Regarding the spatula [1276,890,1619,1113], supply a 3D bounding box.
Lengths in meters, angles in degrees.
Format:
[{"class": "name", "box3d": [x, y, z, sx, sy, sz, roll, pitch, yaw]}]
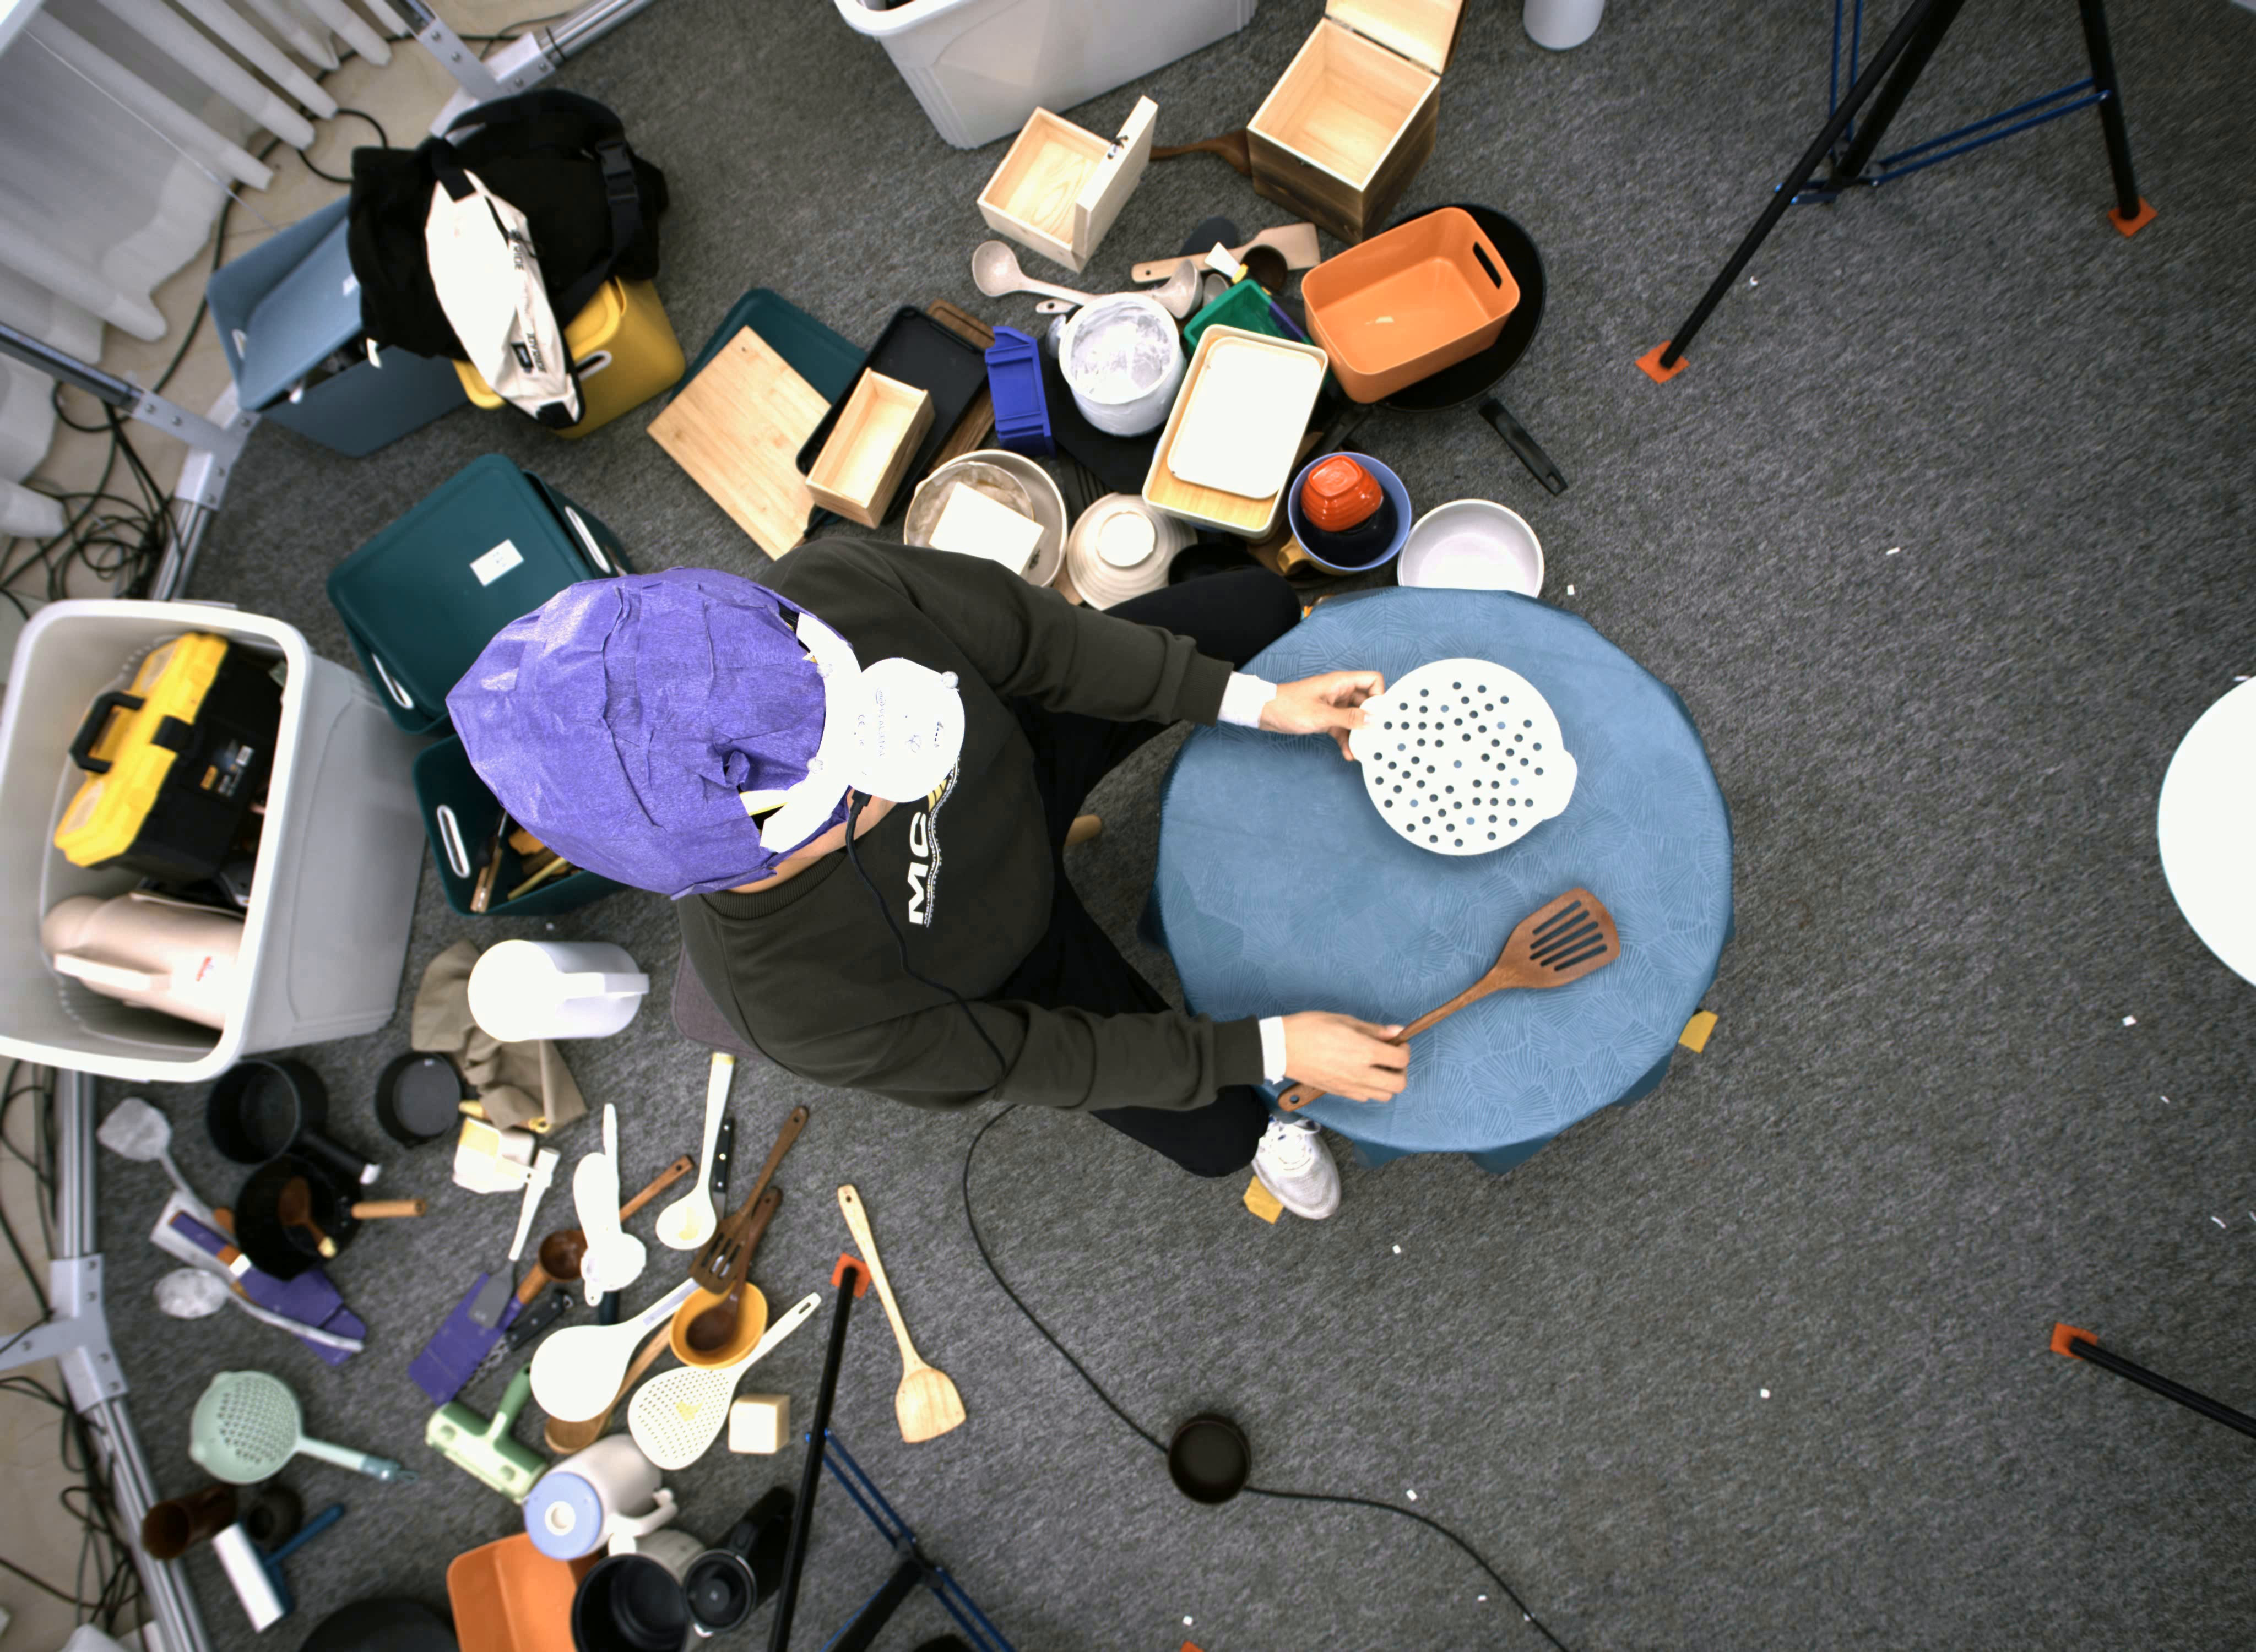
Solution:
[{"class": "spatula", "box3d": [0.320, 0.190, 1.409, 0.386, 0.023, 0.086, -31, 91, 3]}]

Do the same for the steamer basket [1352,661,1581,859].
[{"class": "steamer basket", "box3d": [0.348, -0.068, 1.420, 0.230, 0.069, 0.201, 18, 88, 13]}]
